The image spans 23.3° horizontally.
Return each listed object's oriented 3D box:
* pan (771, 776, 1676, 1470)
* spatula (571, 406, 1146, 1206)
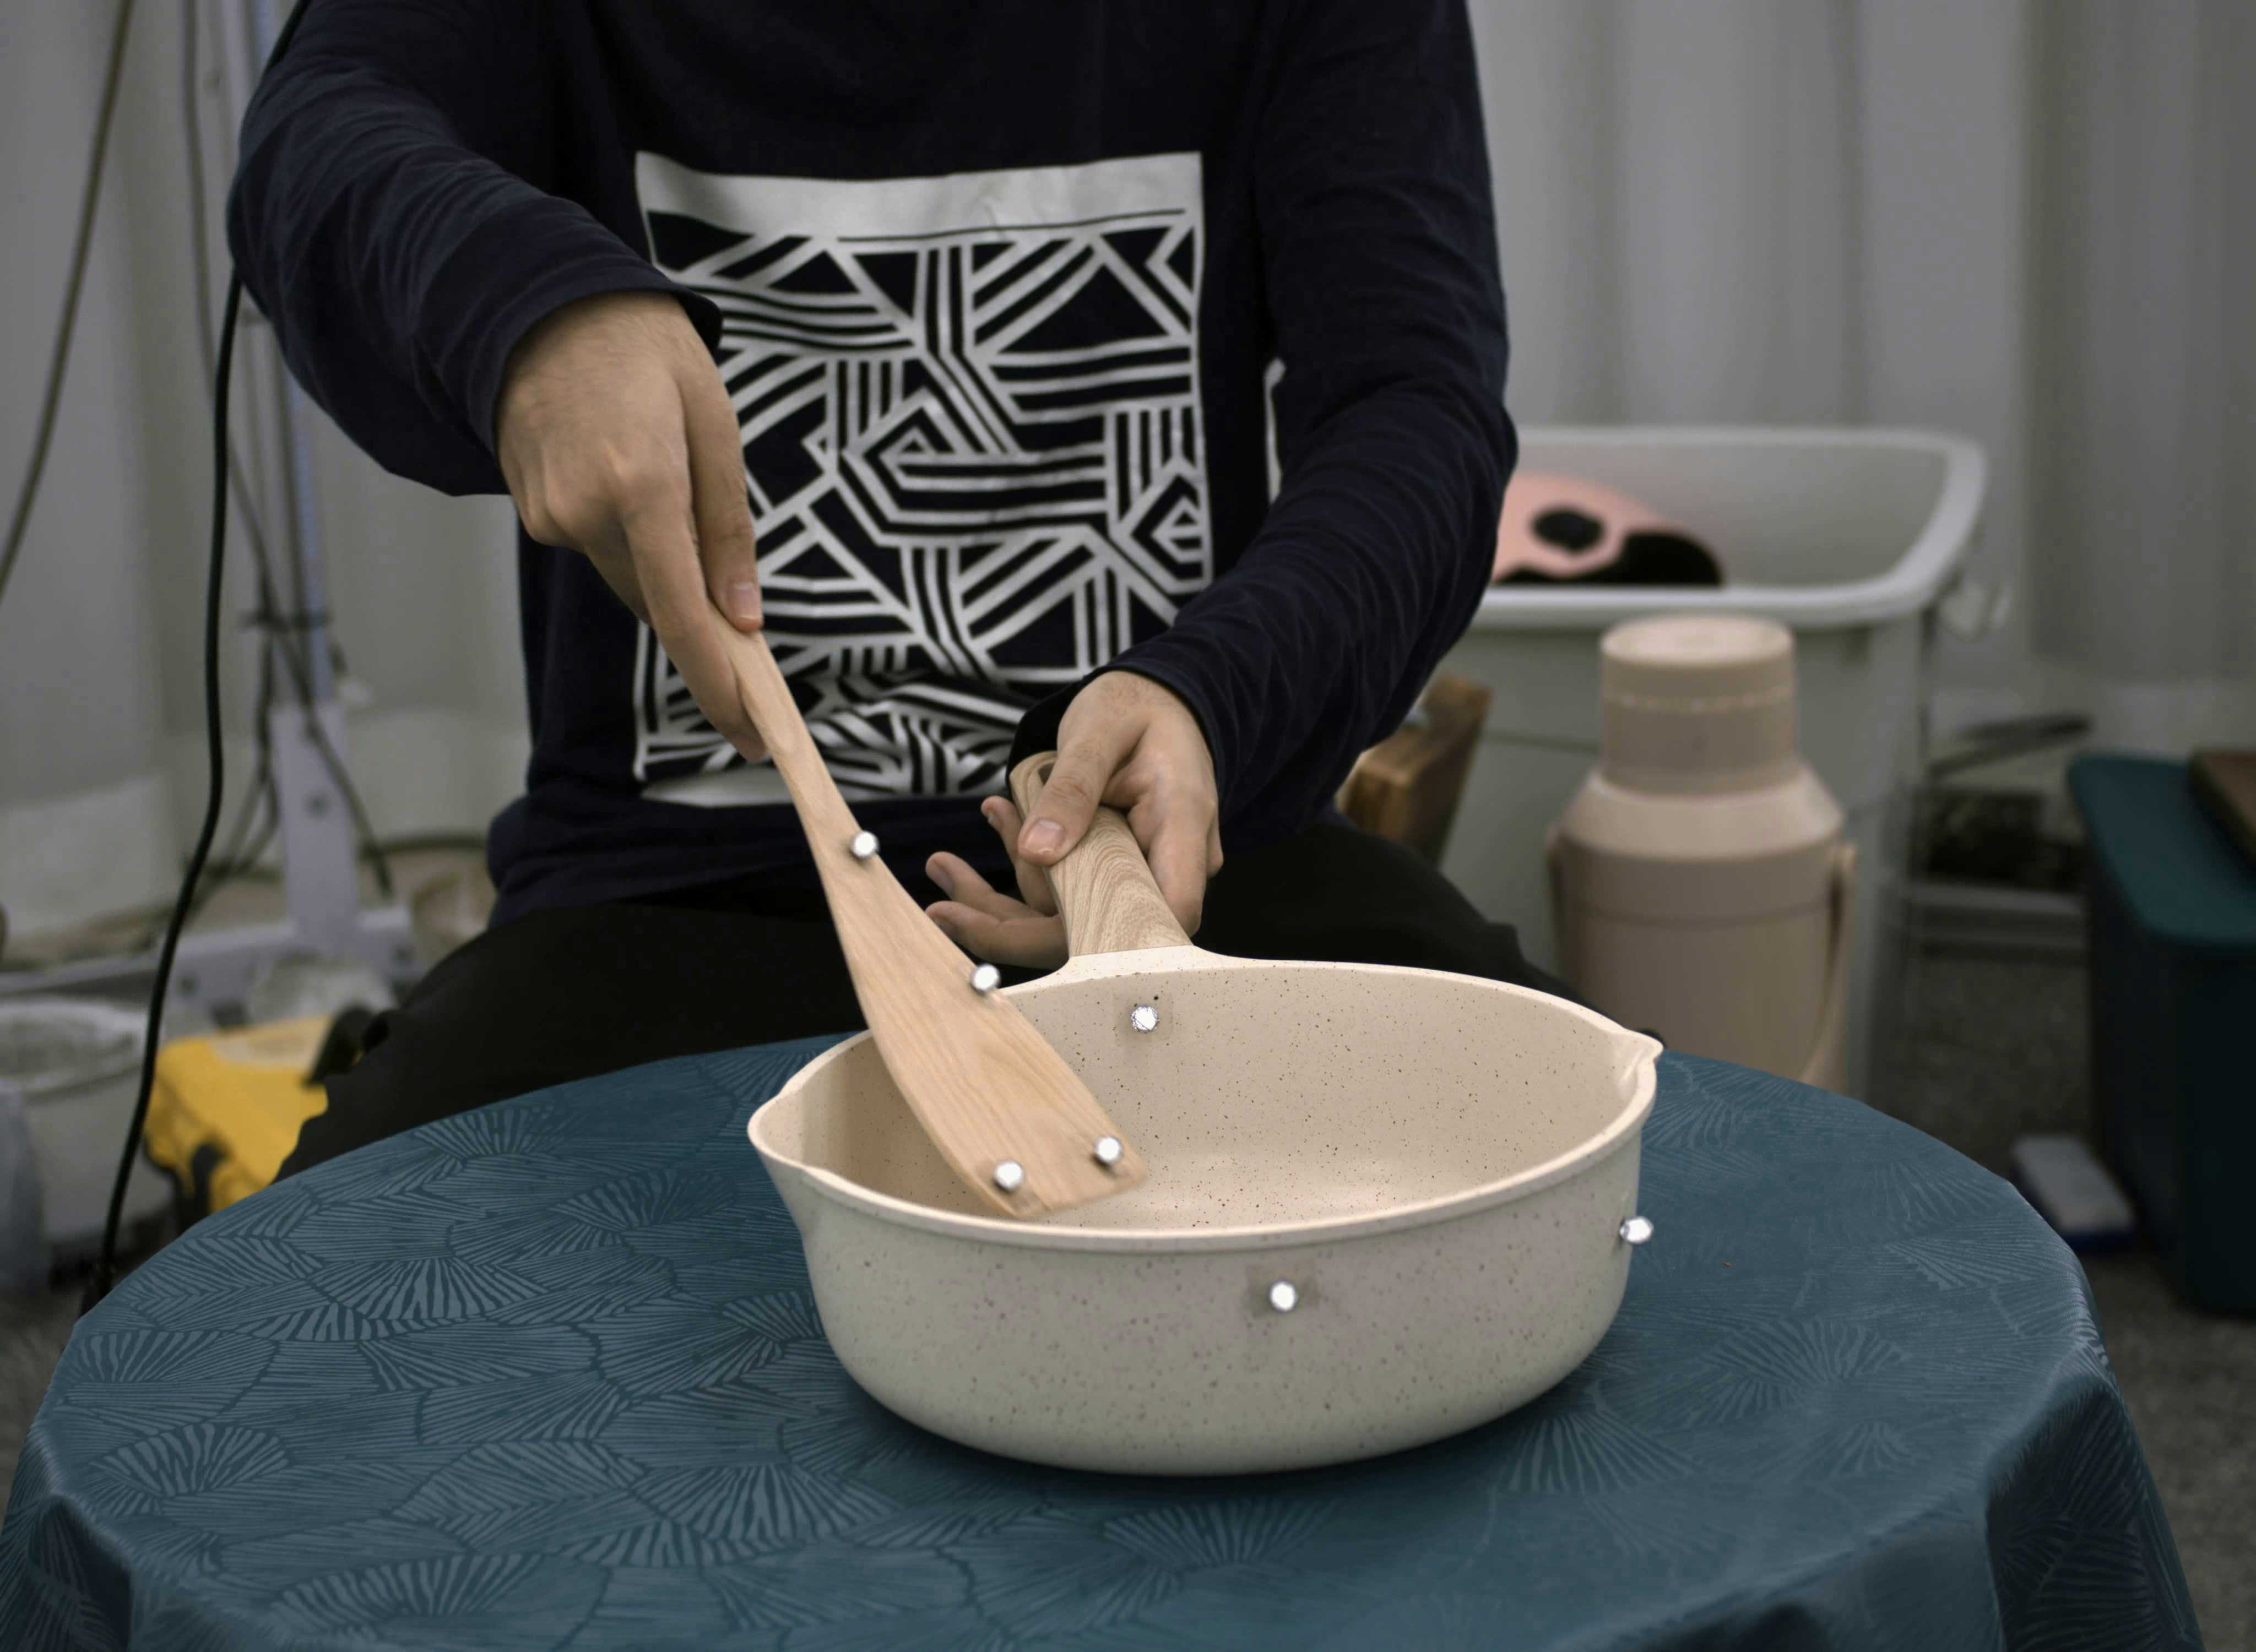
[{"bbox_3d":[0.015,0.083,1.647,0.262,0.101,0.438,-6,15,-8],"label":"pan"},{"bbox_3d":[-0.091,-0.009,1.650,0.079,0.016,0.332,4,46,-47],"label":"spatula"}]
